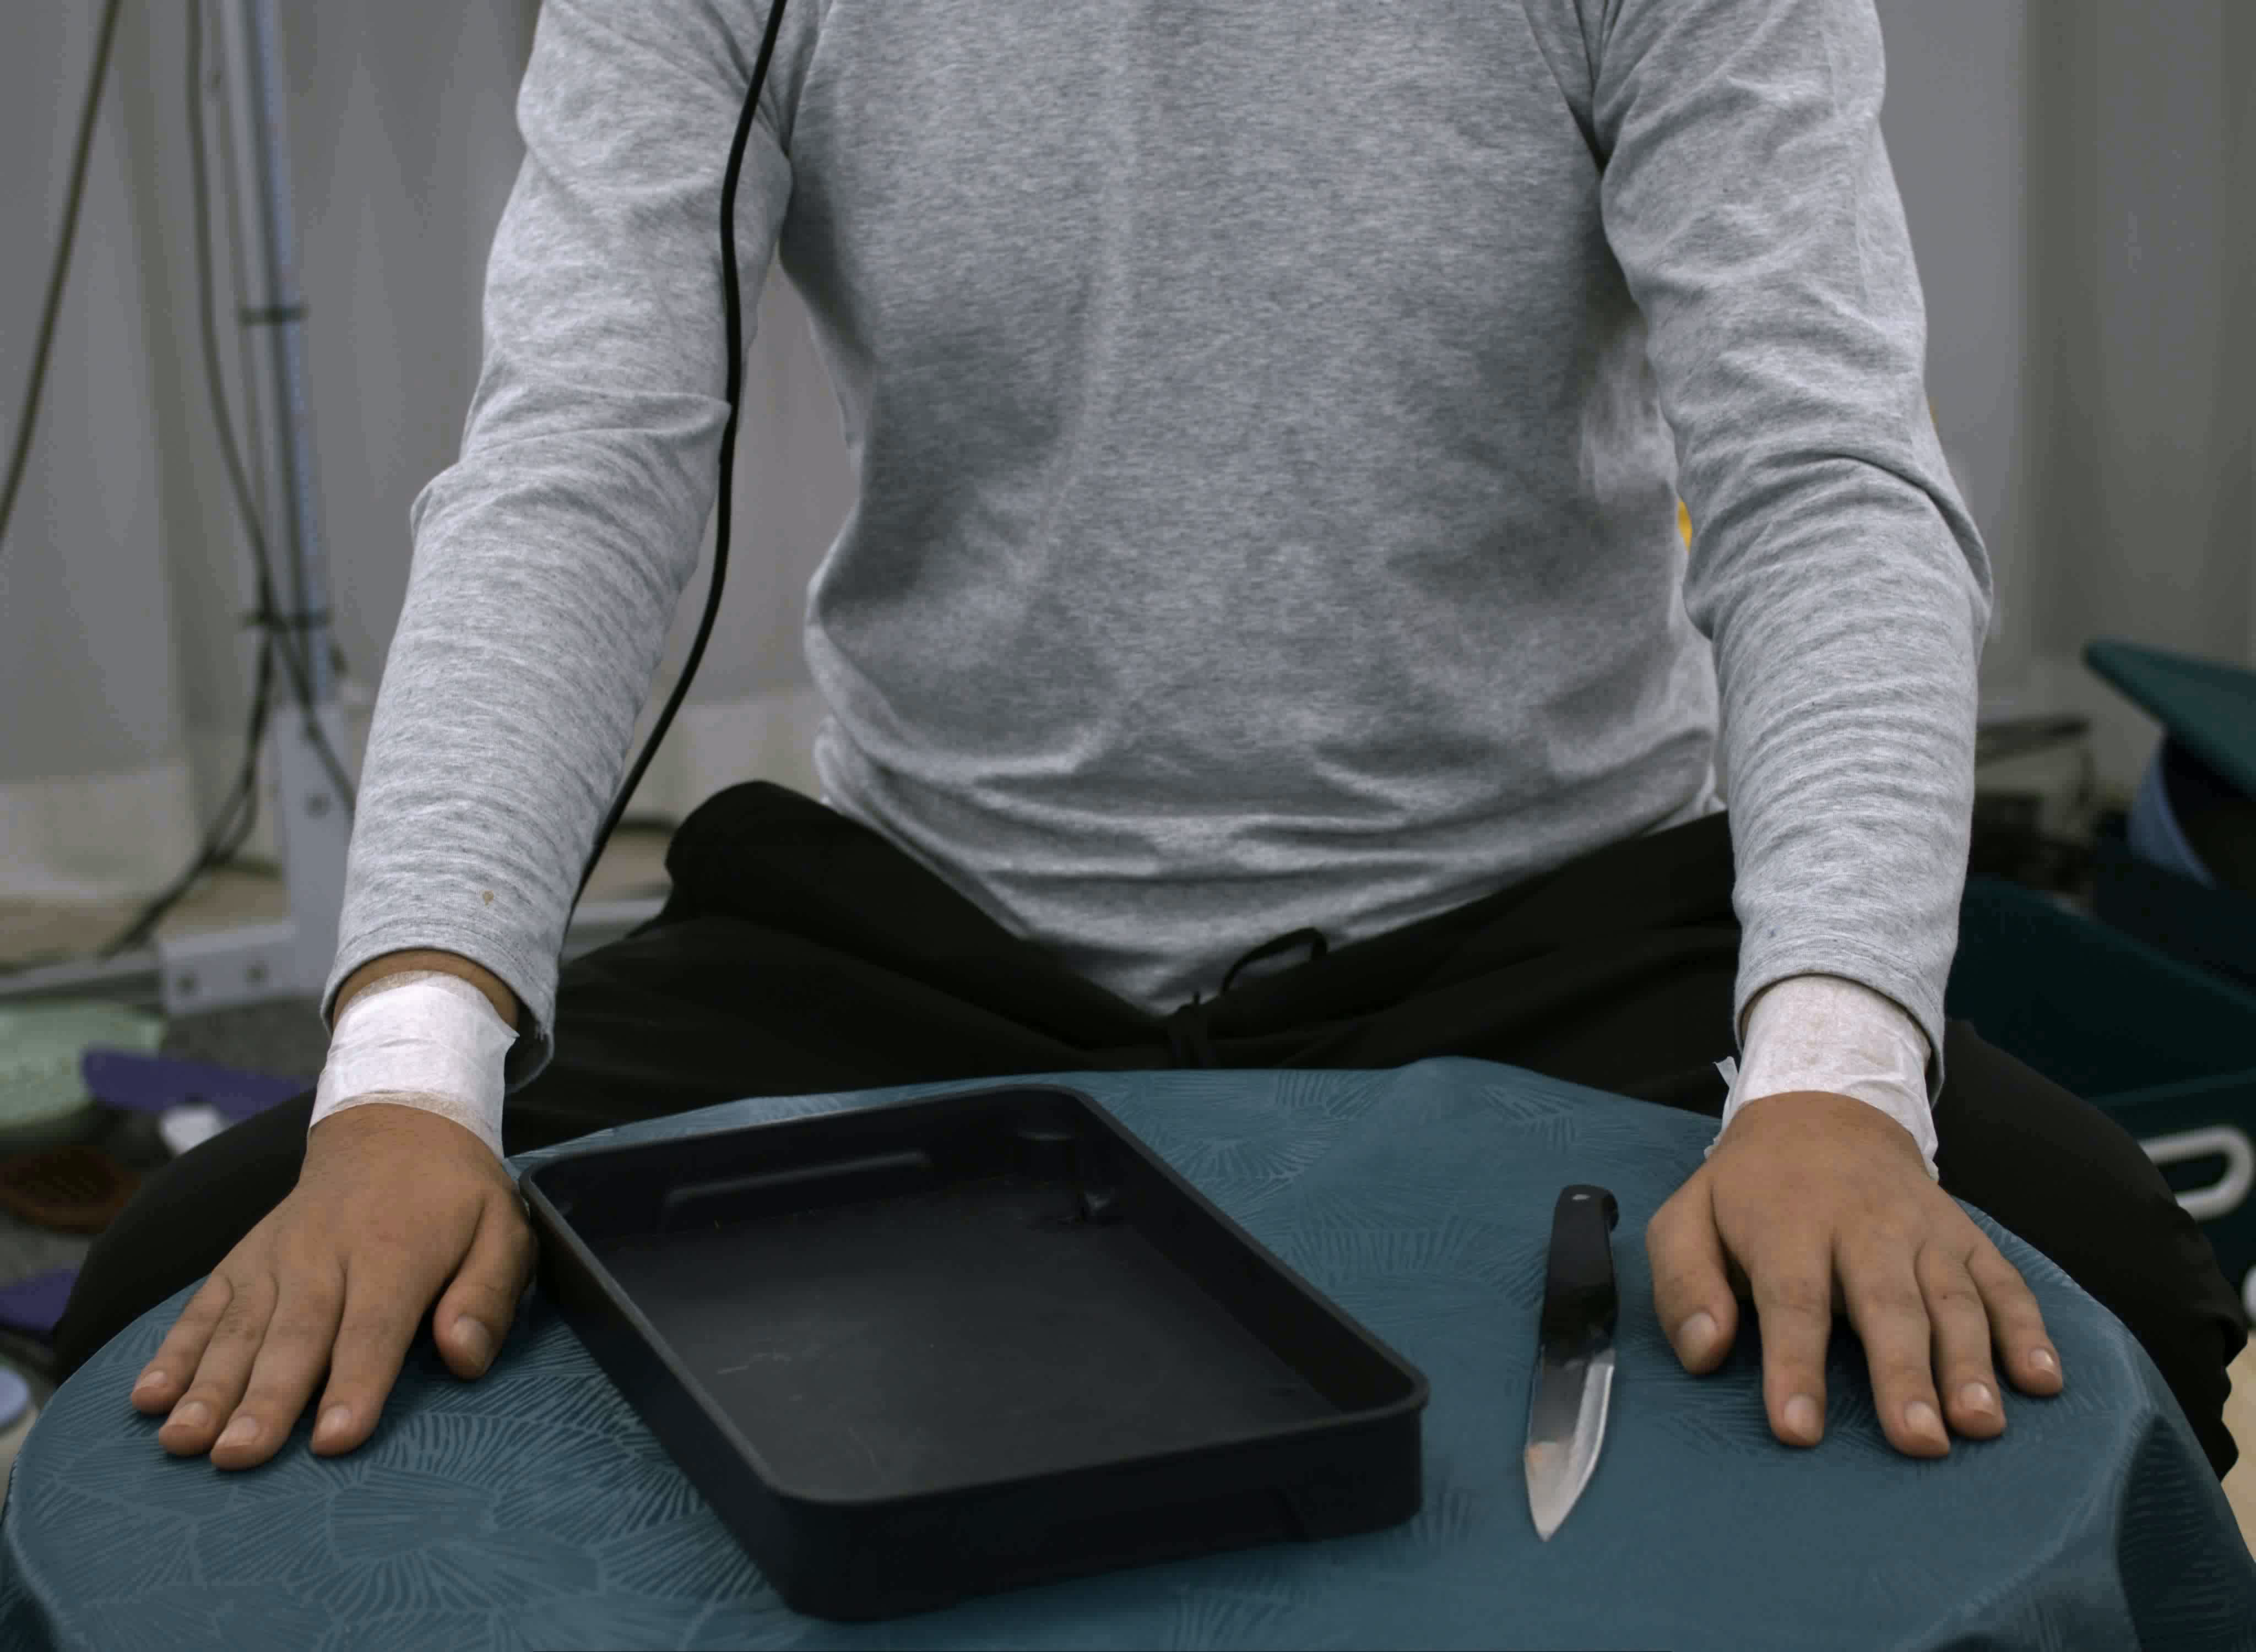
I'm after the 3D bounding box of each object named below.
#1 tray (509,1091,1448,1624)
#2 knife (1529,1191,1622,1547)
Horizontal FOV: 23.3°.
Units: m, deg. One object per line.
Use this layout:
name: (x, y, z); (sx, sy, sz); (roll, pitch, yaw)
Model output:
tray: (-0.050, 0.144, 1.548); (0.183, 0.037, 0.320); (-8, 15, -20)
knife: (0.125, 0.151, 1.534); (0.024, 0.016, 0.240); (-4, 17, 8)
